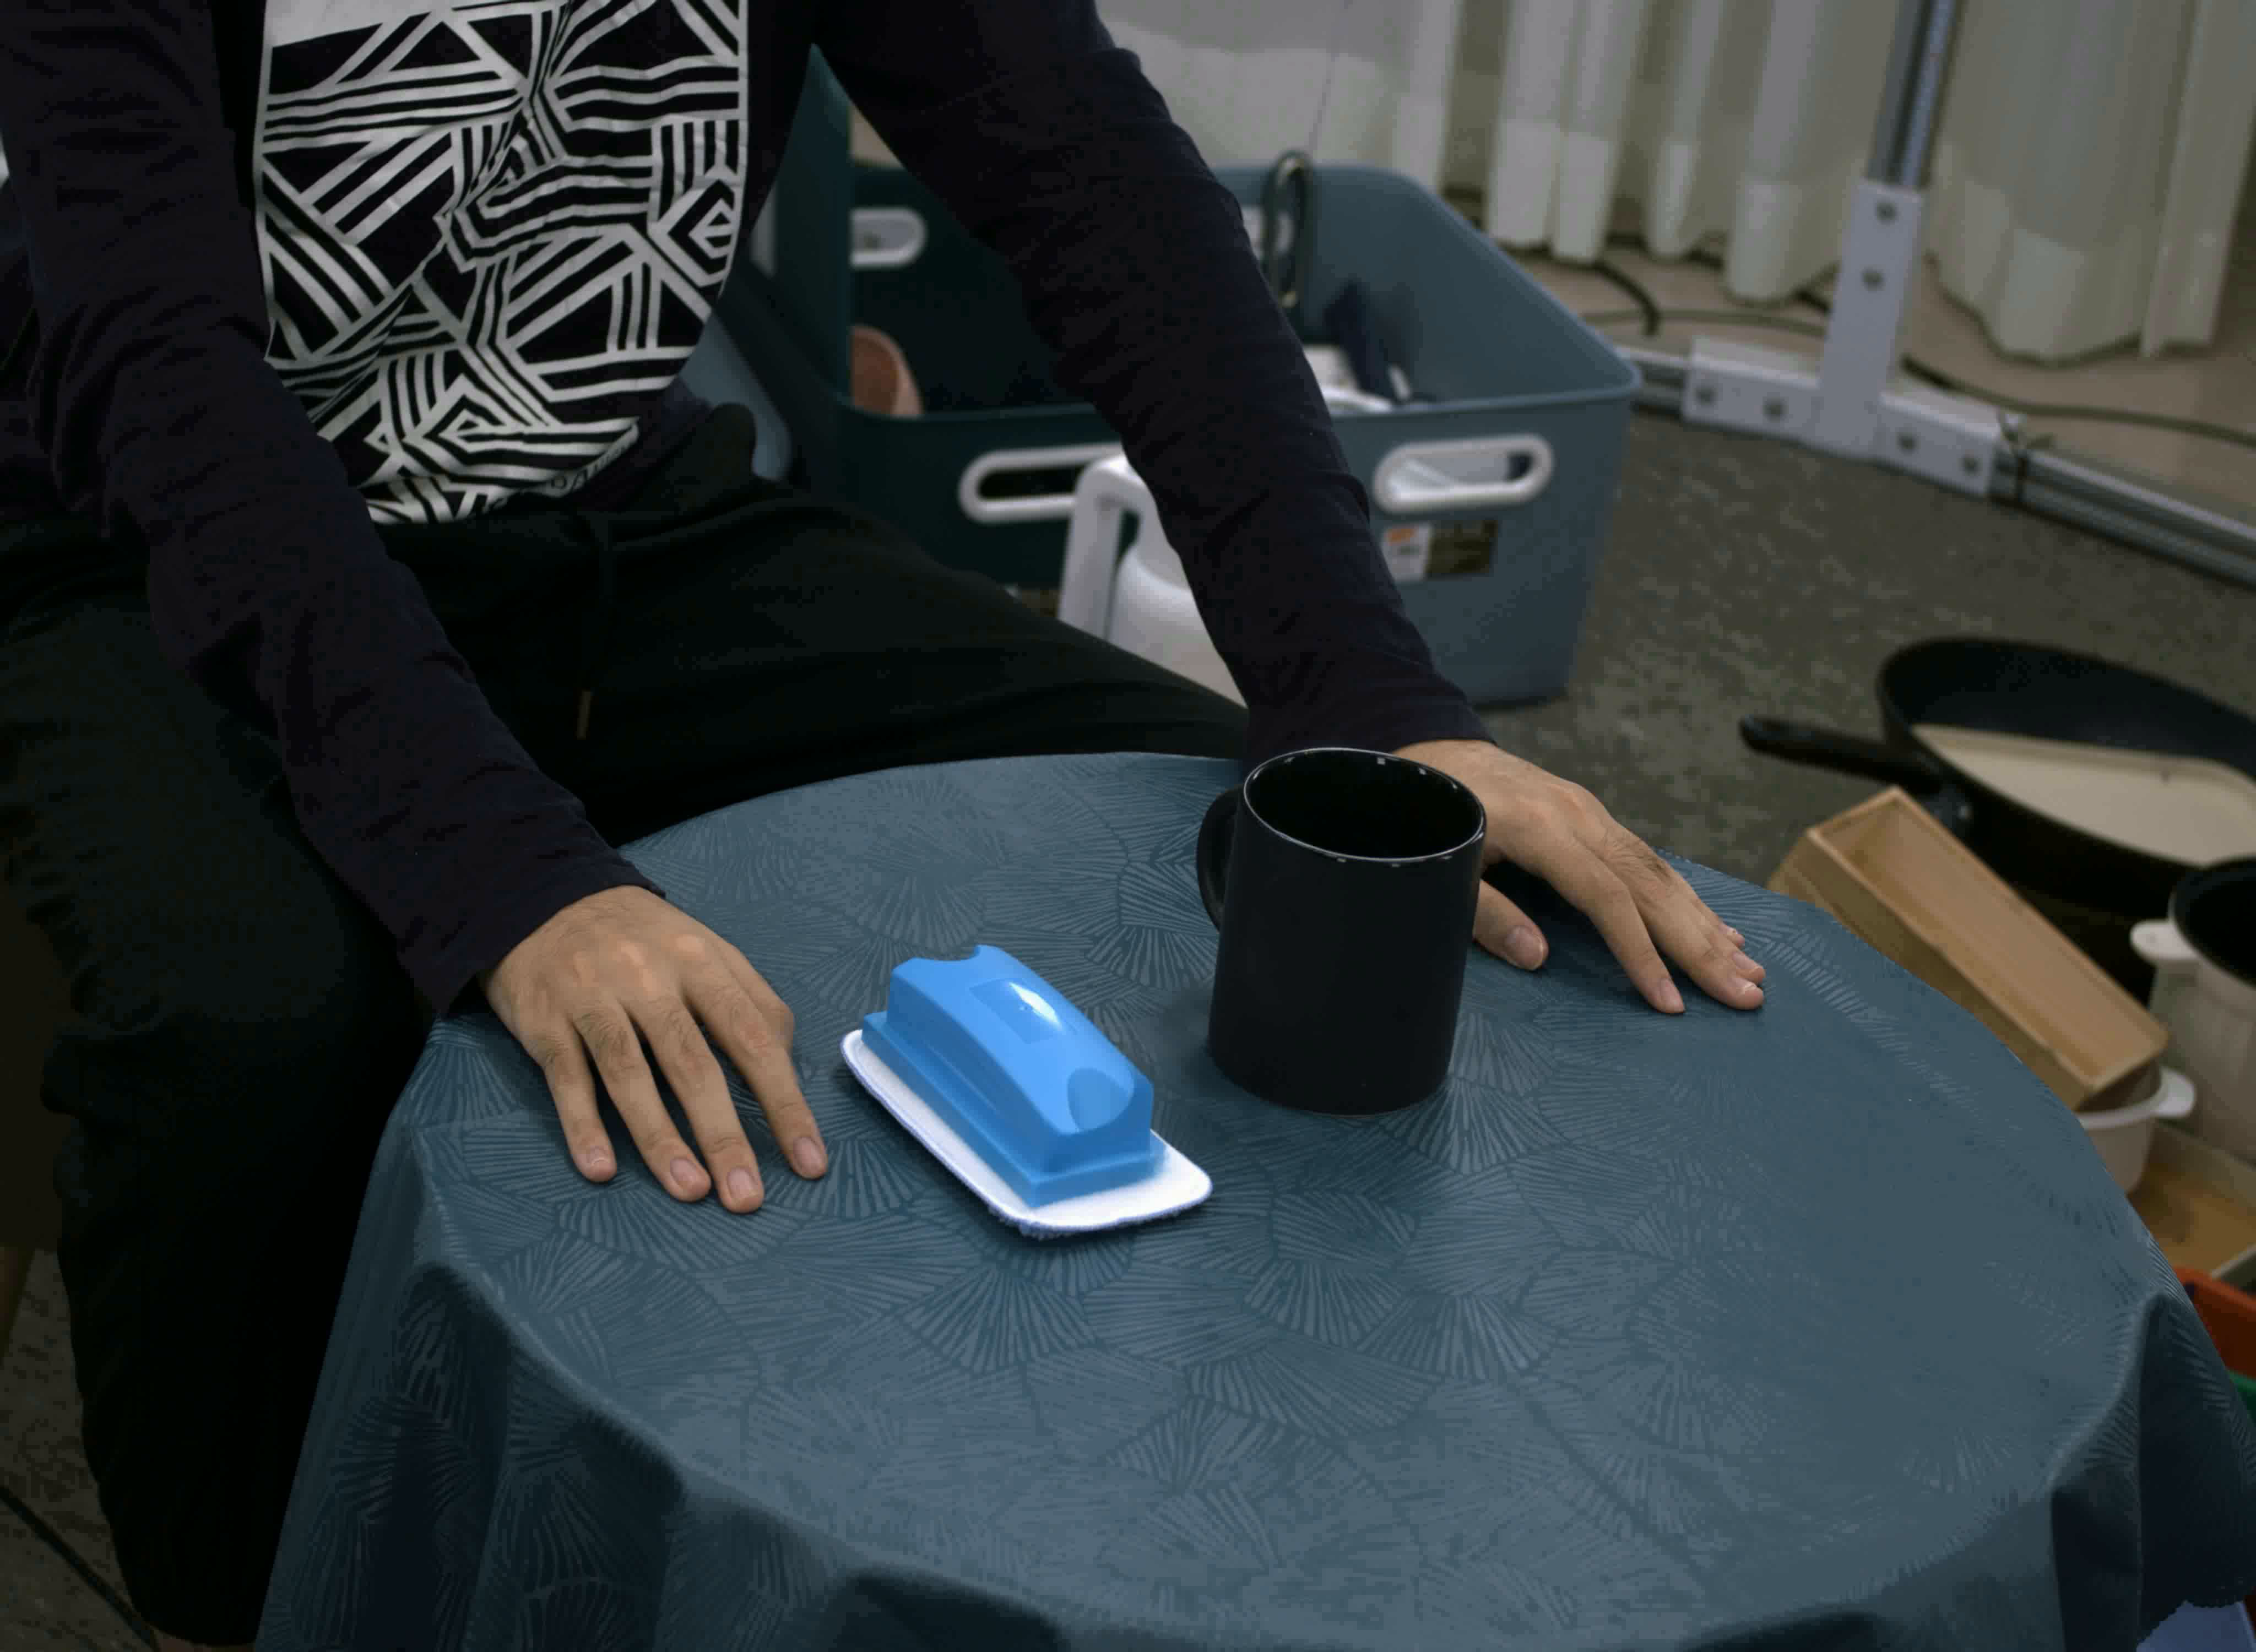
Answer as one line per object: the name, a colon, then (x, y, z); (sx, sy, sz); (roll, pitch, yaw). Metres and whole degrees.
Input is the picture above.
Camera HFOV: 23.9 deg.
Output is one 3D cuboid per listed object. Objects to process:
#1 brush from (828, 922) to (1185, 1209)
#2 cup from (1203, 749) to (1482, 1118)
brush: (-0.039, 0.077, 1.822); (0.083, 0.056, 0.145); (-6, 32, -29)
cup: (0.067, 0.031, 1.893); (0.088, 0.105, 0.125); (-14, 31, -33)
